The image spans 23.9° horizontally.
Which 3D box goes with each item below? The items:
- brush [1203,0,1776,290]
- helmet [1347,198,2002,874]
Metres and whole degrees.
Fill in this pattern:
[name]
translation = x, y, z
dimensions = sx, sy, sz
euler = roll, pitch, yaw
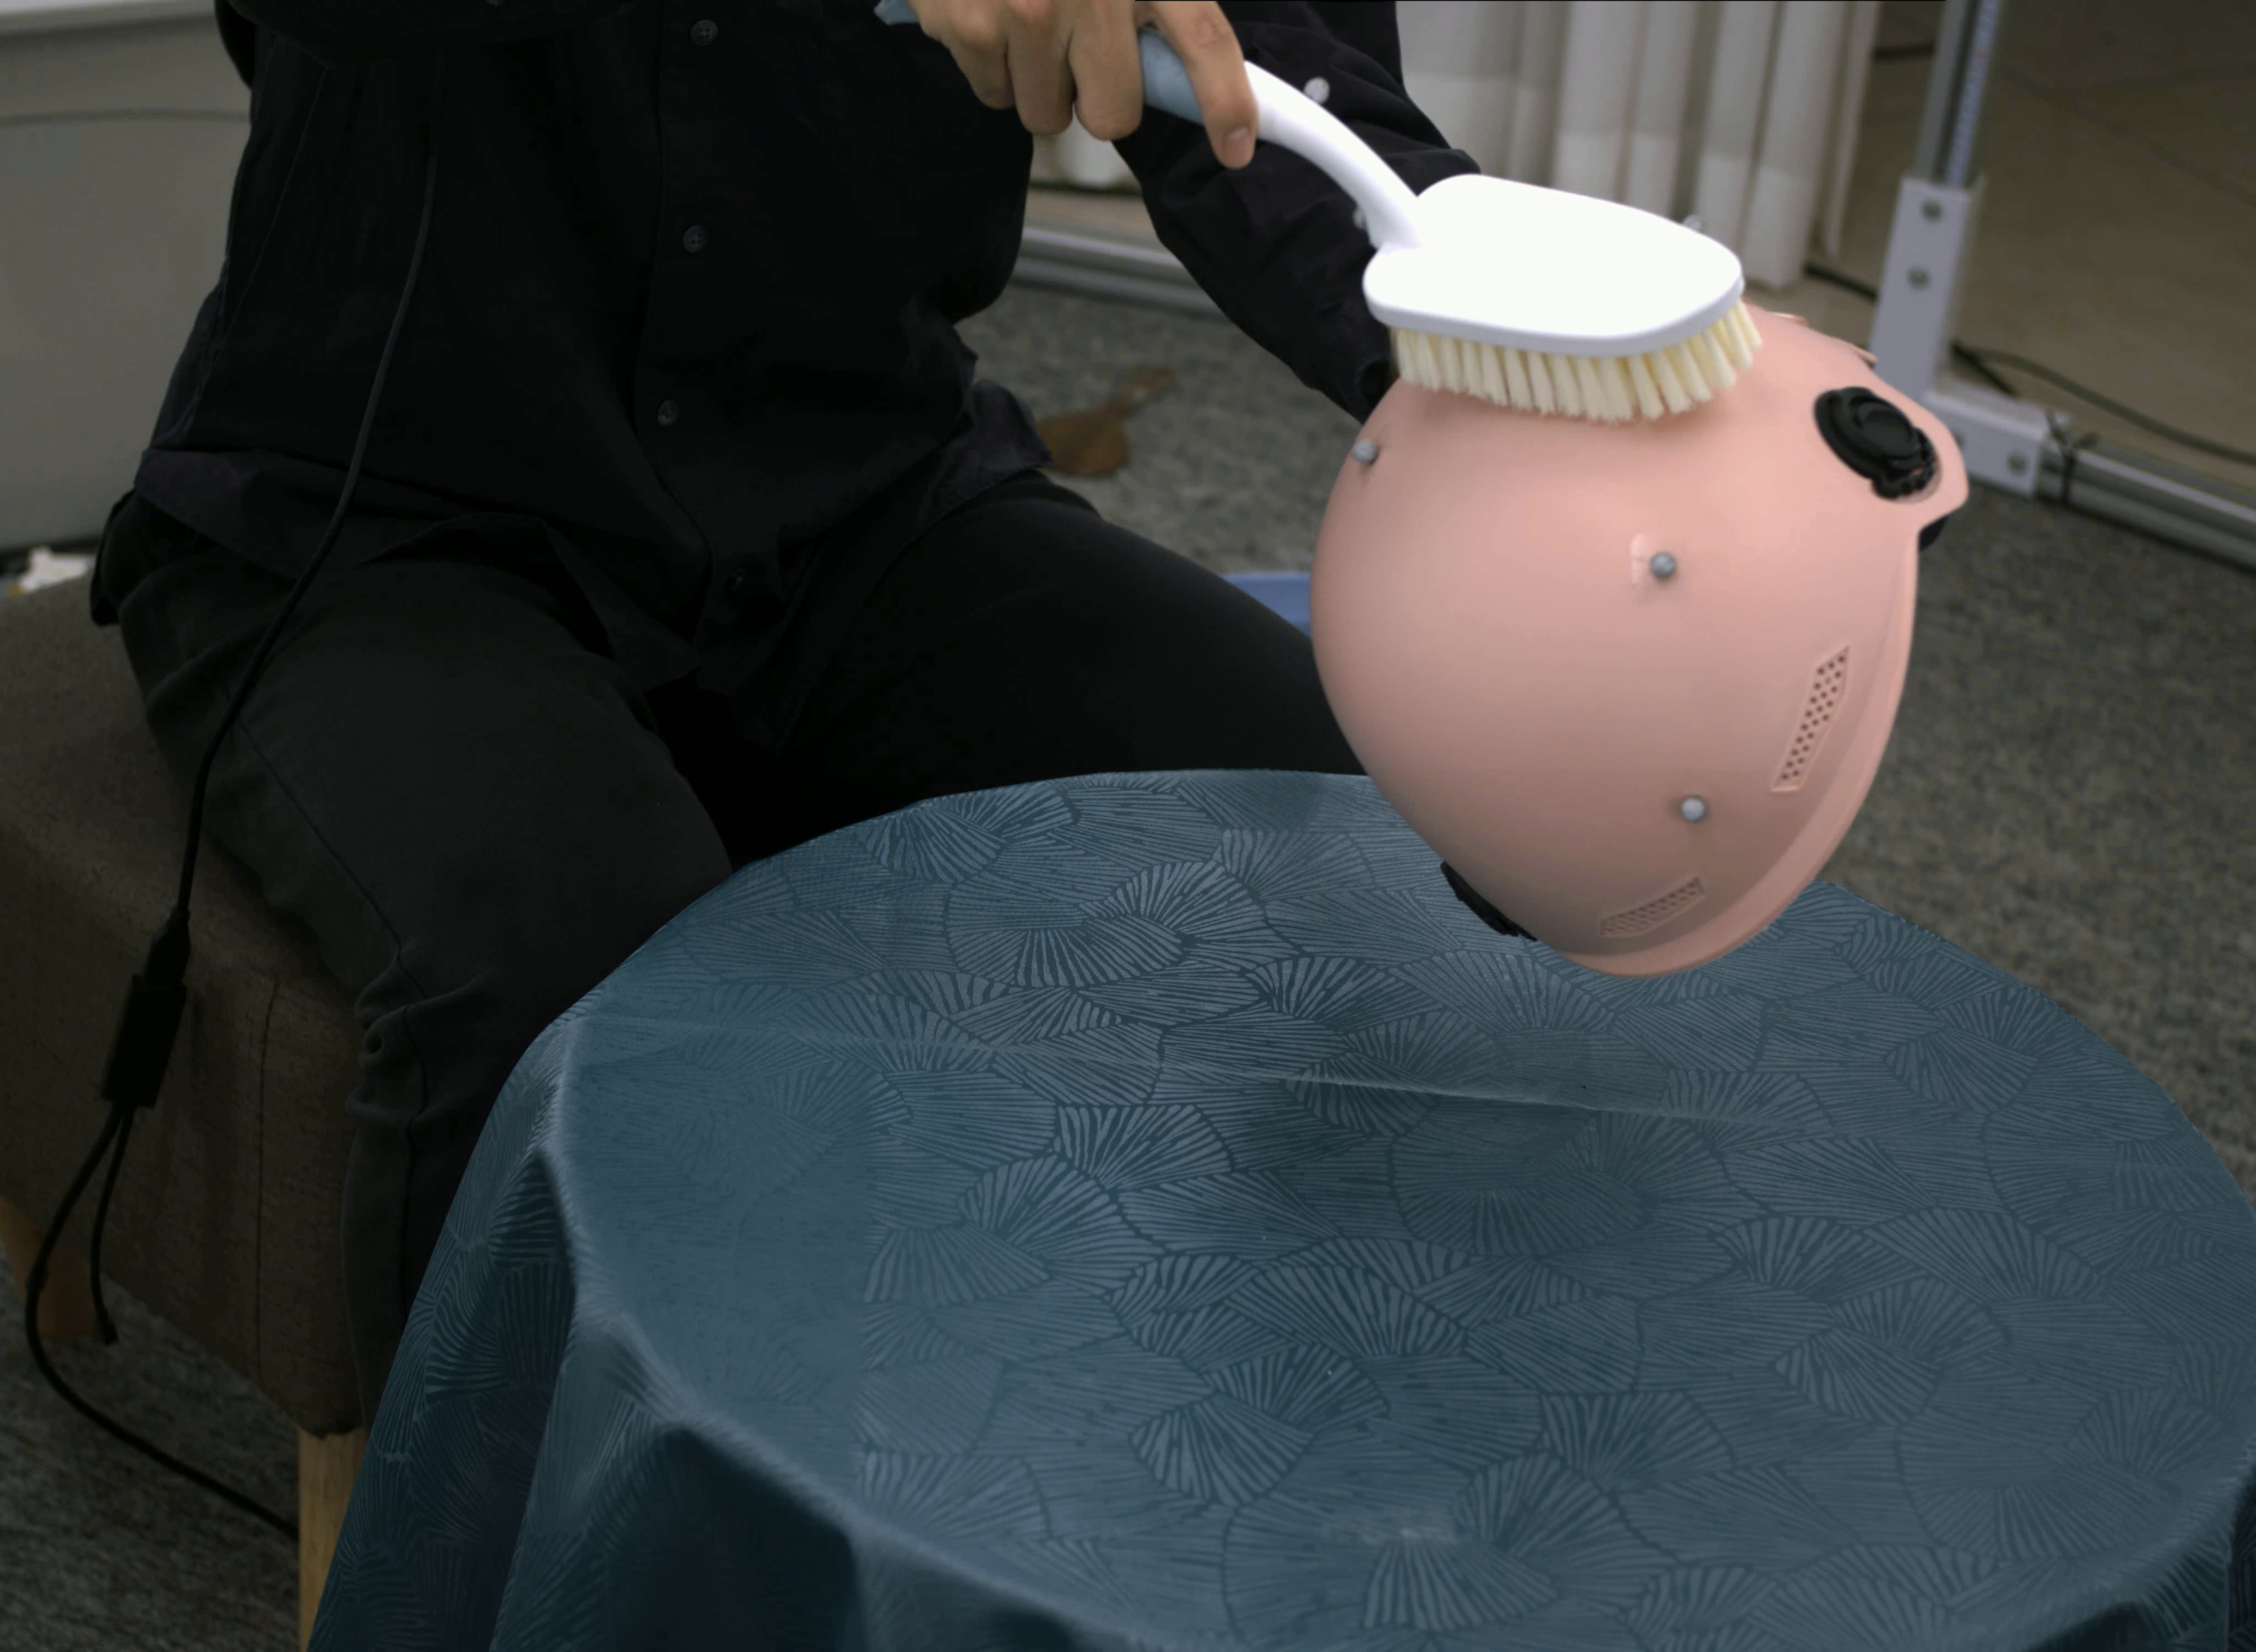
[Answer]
[brush]
translation = 0.068, -0.249, 1.797
dimensions = 0.327, 0.084, 0.083
euler = 22, 17, 21
[helmet]
translation = 0.167, -0.118, 1.823
dimensions = 0.157, 0.234, 0.268
euler = 27, 26, -24
